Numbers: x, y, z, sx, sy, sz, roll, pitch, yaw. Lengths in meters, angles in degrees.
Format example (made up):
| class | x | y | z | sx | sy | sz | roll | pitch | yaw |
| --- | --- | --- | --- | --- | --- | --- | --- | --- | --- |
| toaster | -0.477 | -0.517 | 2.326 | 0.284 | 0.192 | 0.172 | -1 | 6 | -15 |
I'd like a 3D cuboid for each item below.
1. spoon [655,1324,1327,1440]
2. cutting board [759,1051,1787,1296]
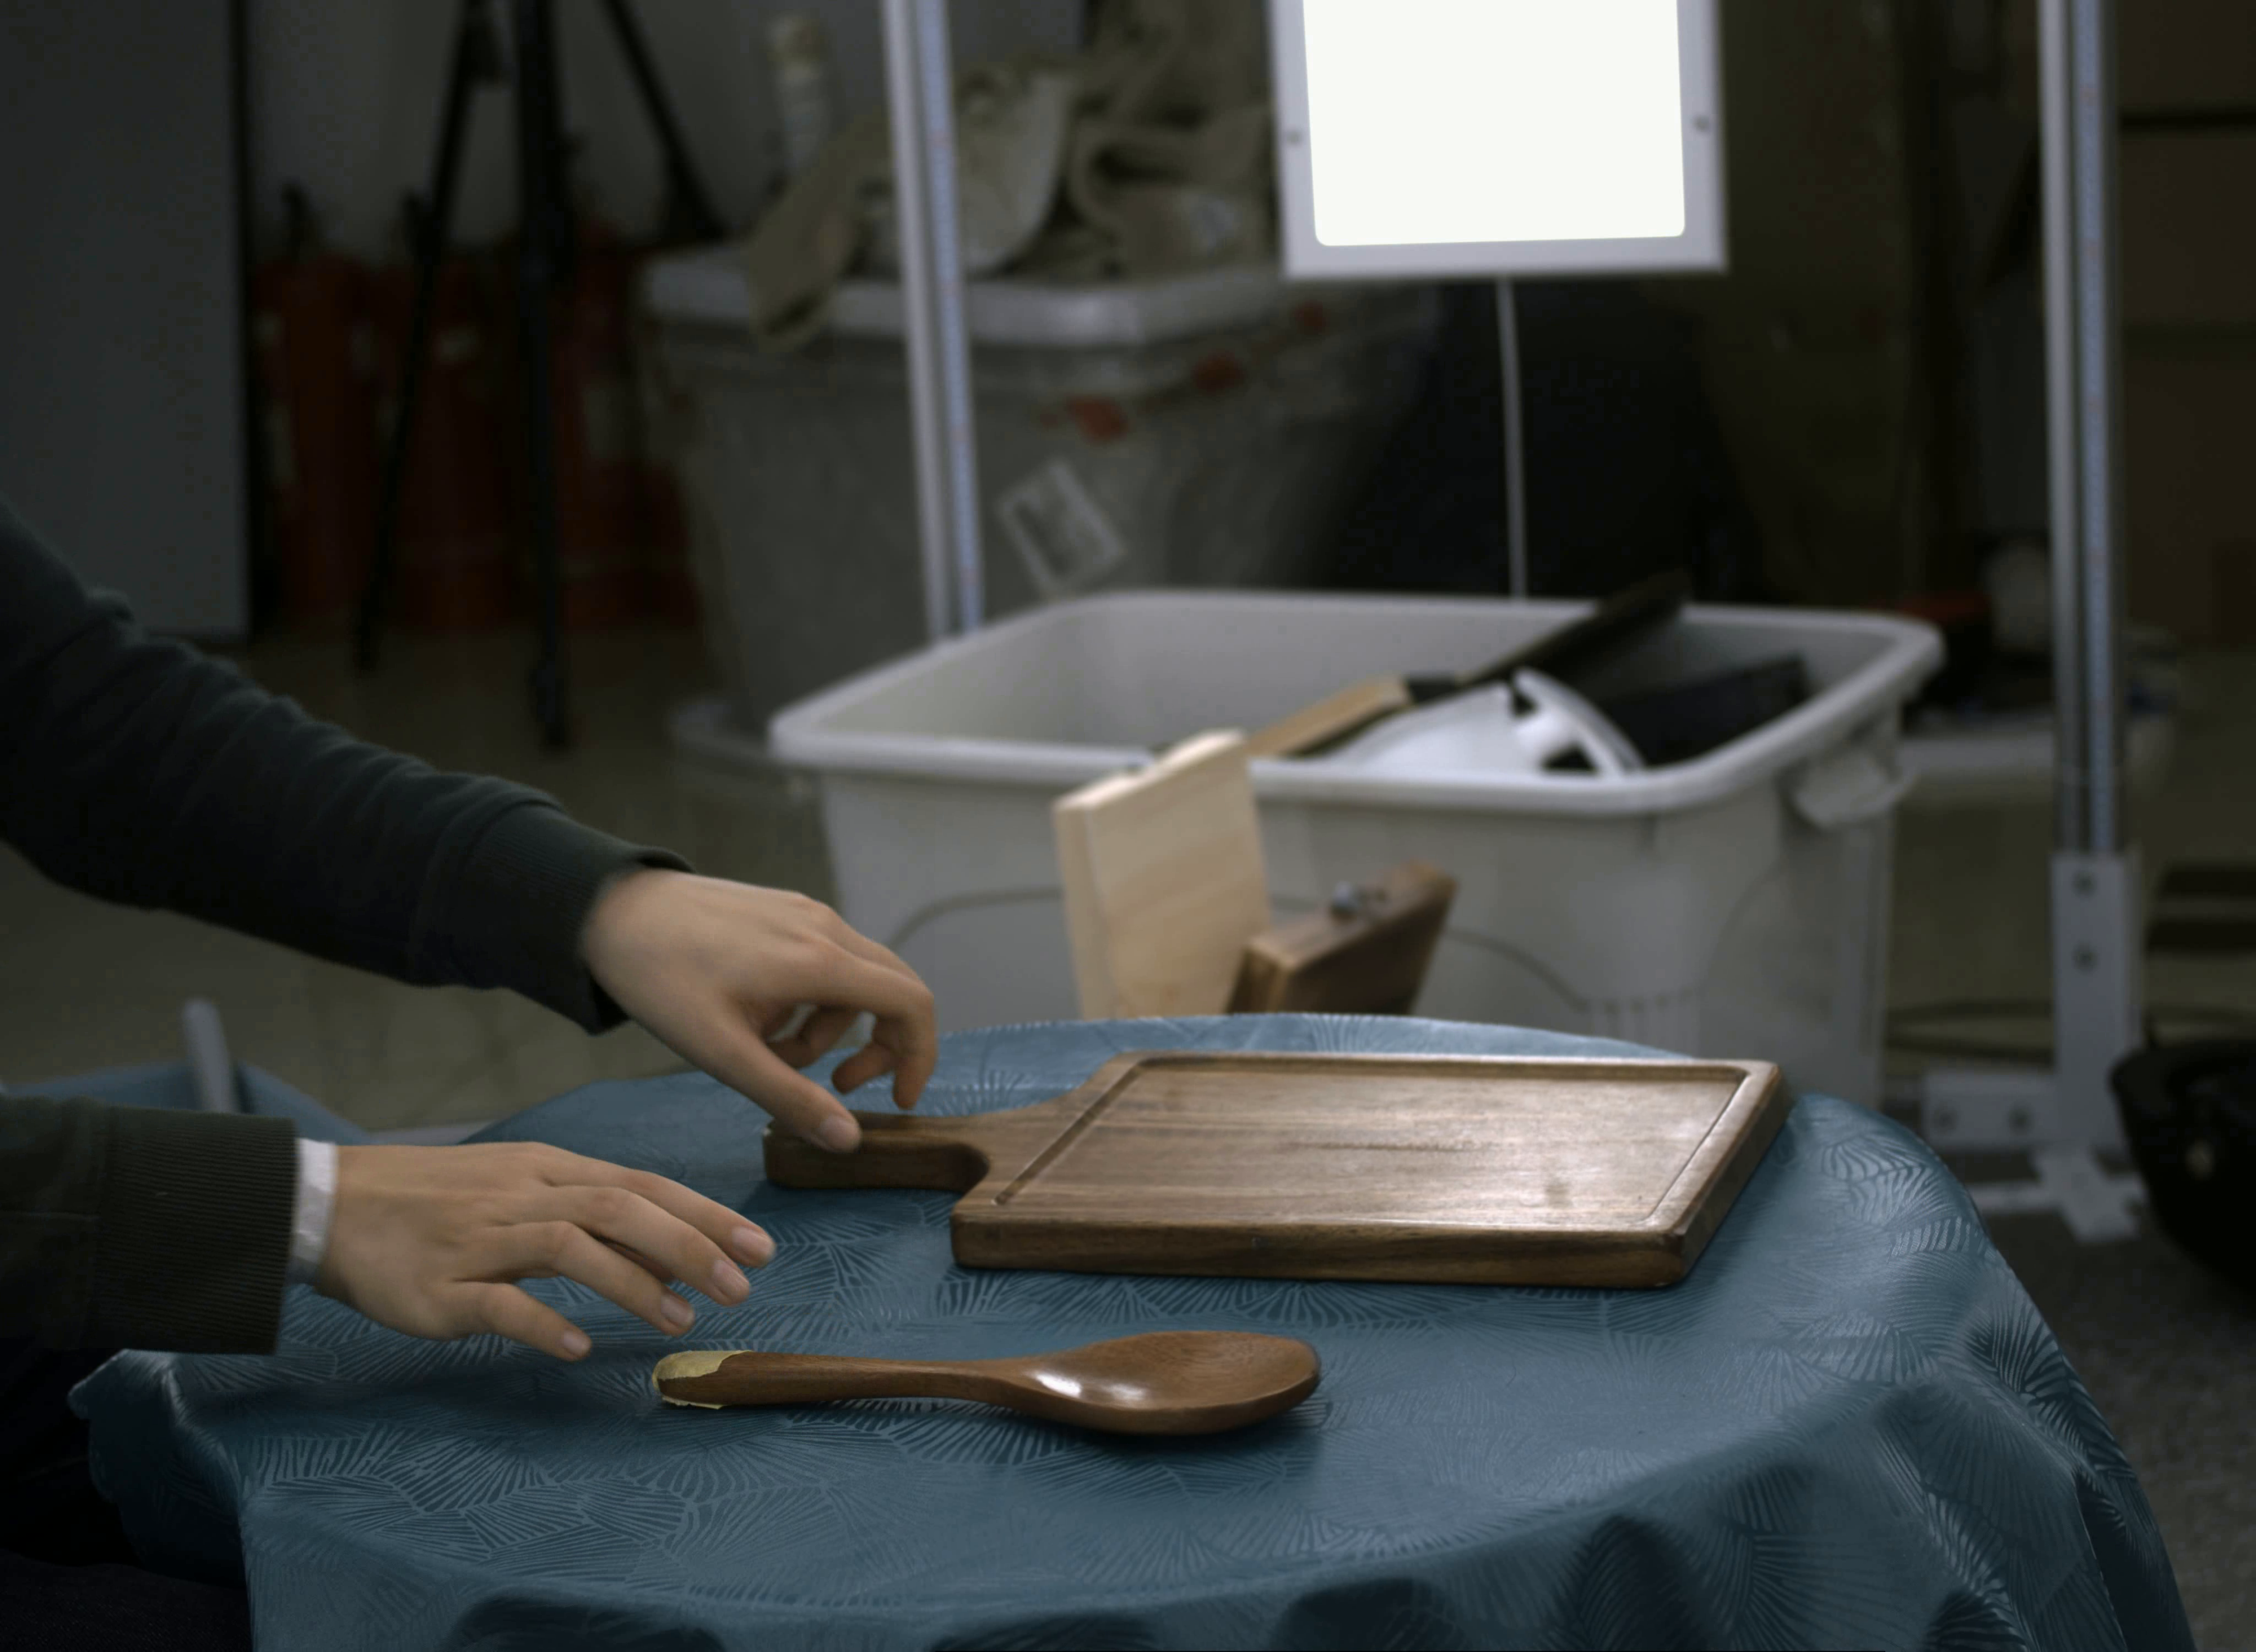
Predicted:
| class | x | y | z | sx | sy | sz | roll | pitch | yaw |
| --- | --- | --- | --- | --- | --- | --- | --- | --- | --- |
| spoon | -0.043 | 0.170 | 1.695 | 0.218 | 0.017 | 0.074 | 1 | 17 | 19 |
| cutting board | 0.039 | 0.115 | 1.892 | 0.357 | 0.023 | 0.197 | 0 | 15 | 20 |
